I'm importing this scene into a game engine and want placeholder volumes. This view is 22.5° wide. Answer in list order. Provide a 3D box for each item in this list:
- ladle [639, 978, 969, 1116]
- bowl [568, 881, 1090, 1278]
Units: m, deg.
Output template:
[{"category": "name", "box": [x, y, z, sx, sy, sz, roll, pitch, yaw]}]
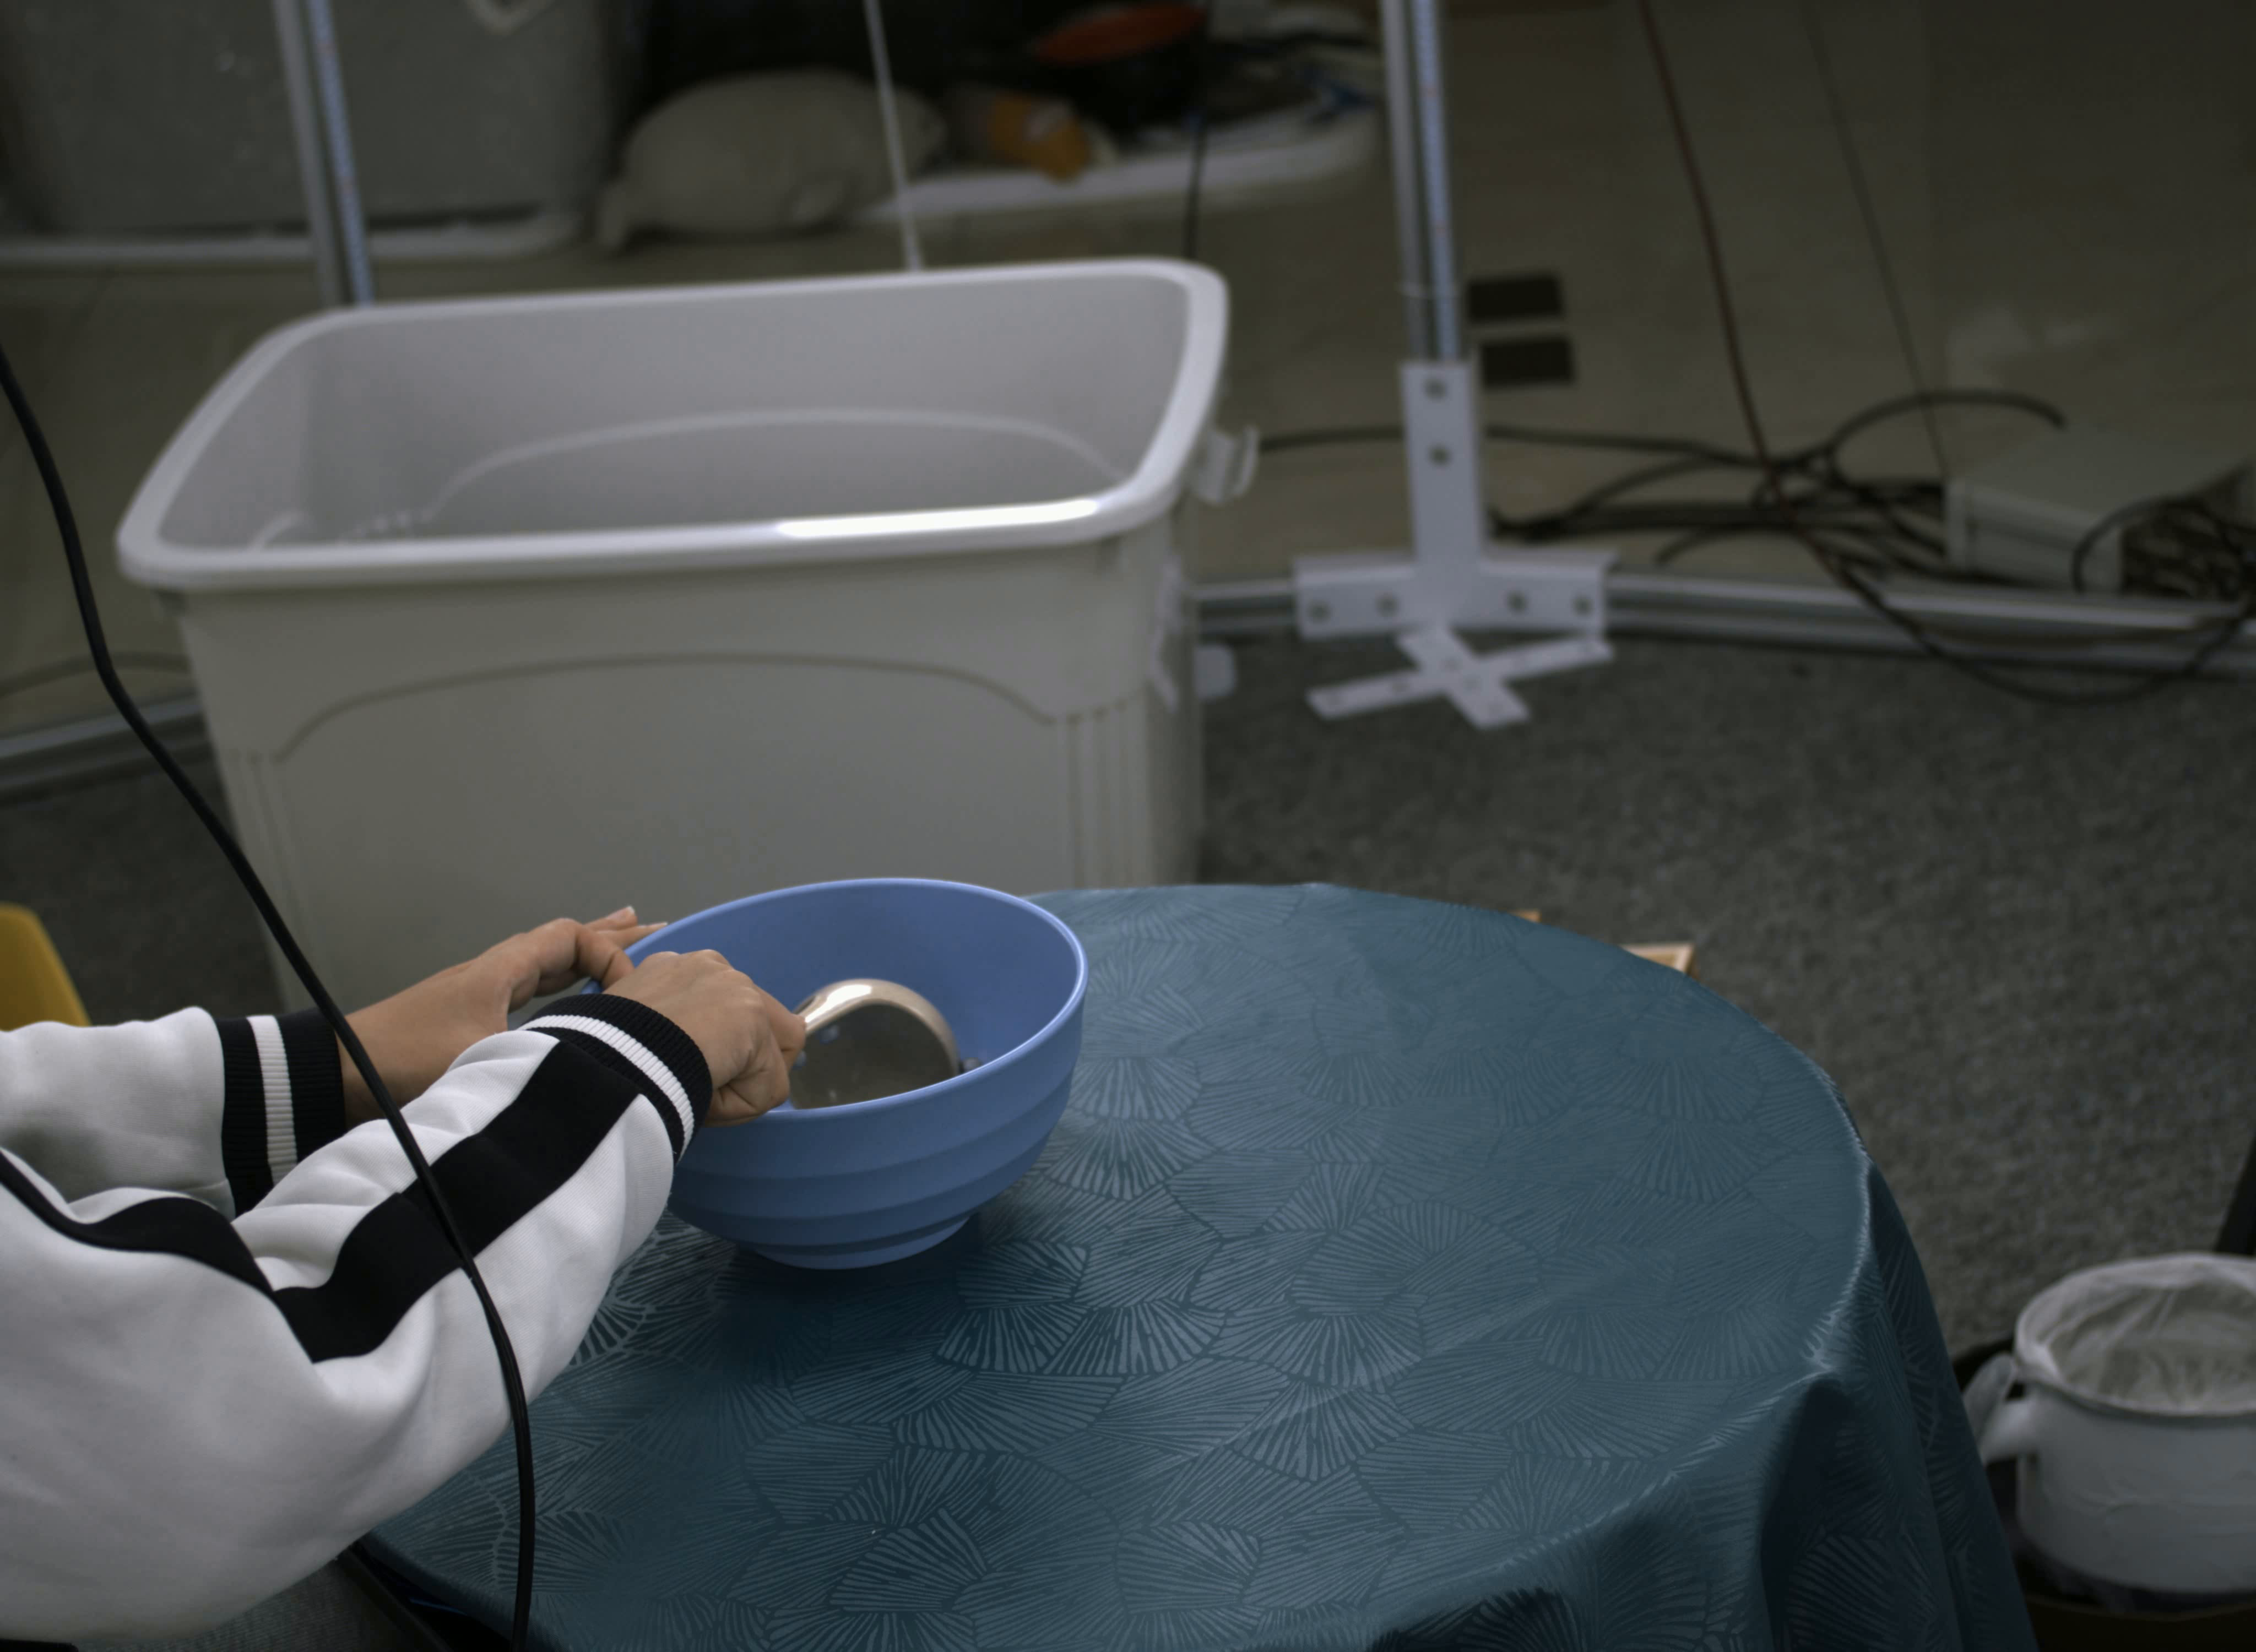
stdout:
[{"category": "ladle", "box": [-0.125, 0.103, 2.058, 0.072, 0.073, 0.253, 7, 8, 17]}, {"category": "bowl", "box": [-0.108, 0.107, 2.138, 0.196, 0.097, 0.193, -5, 27, 2]}]
